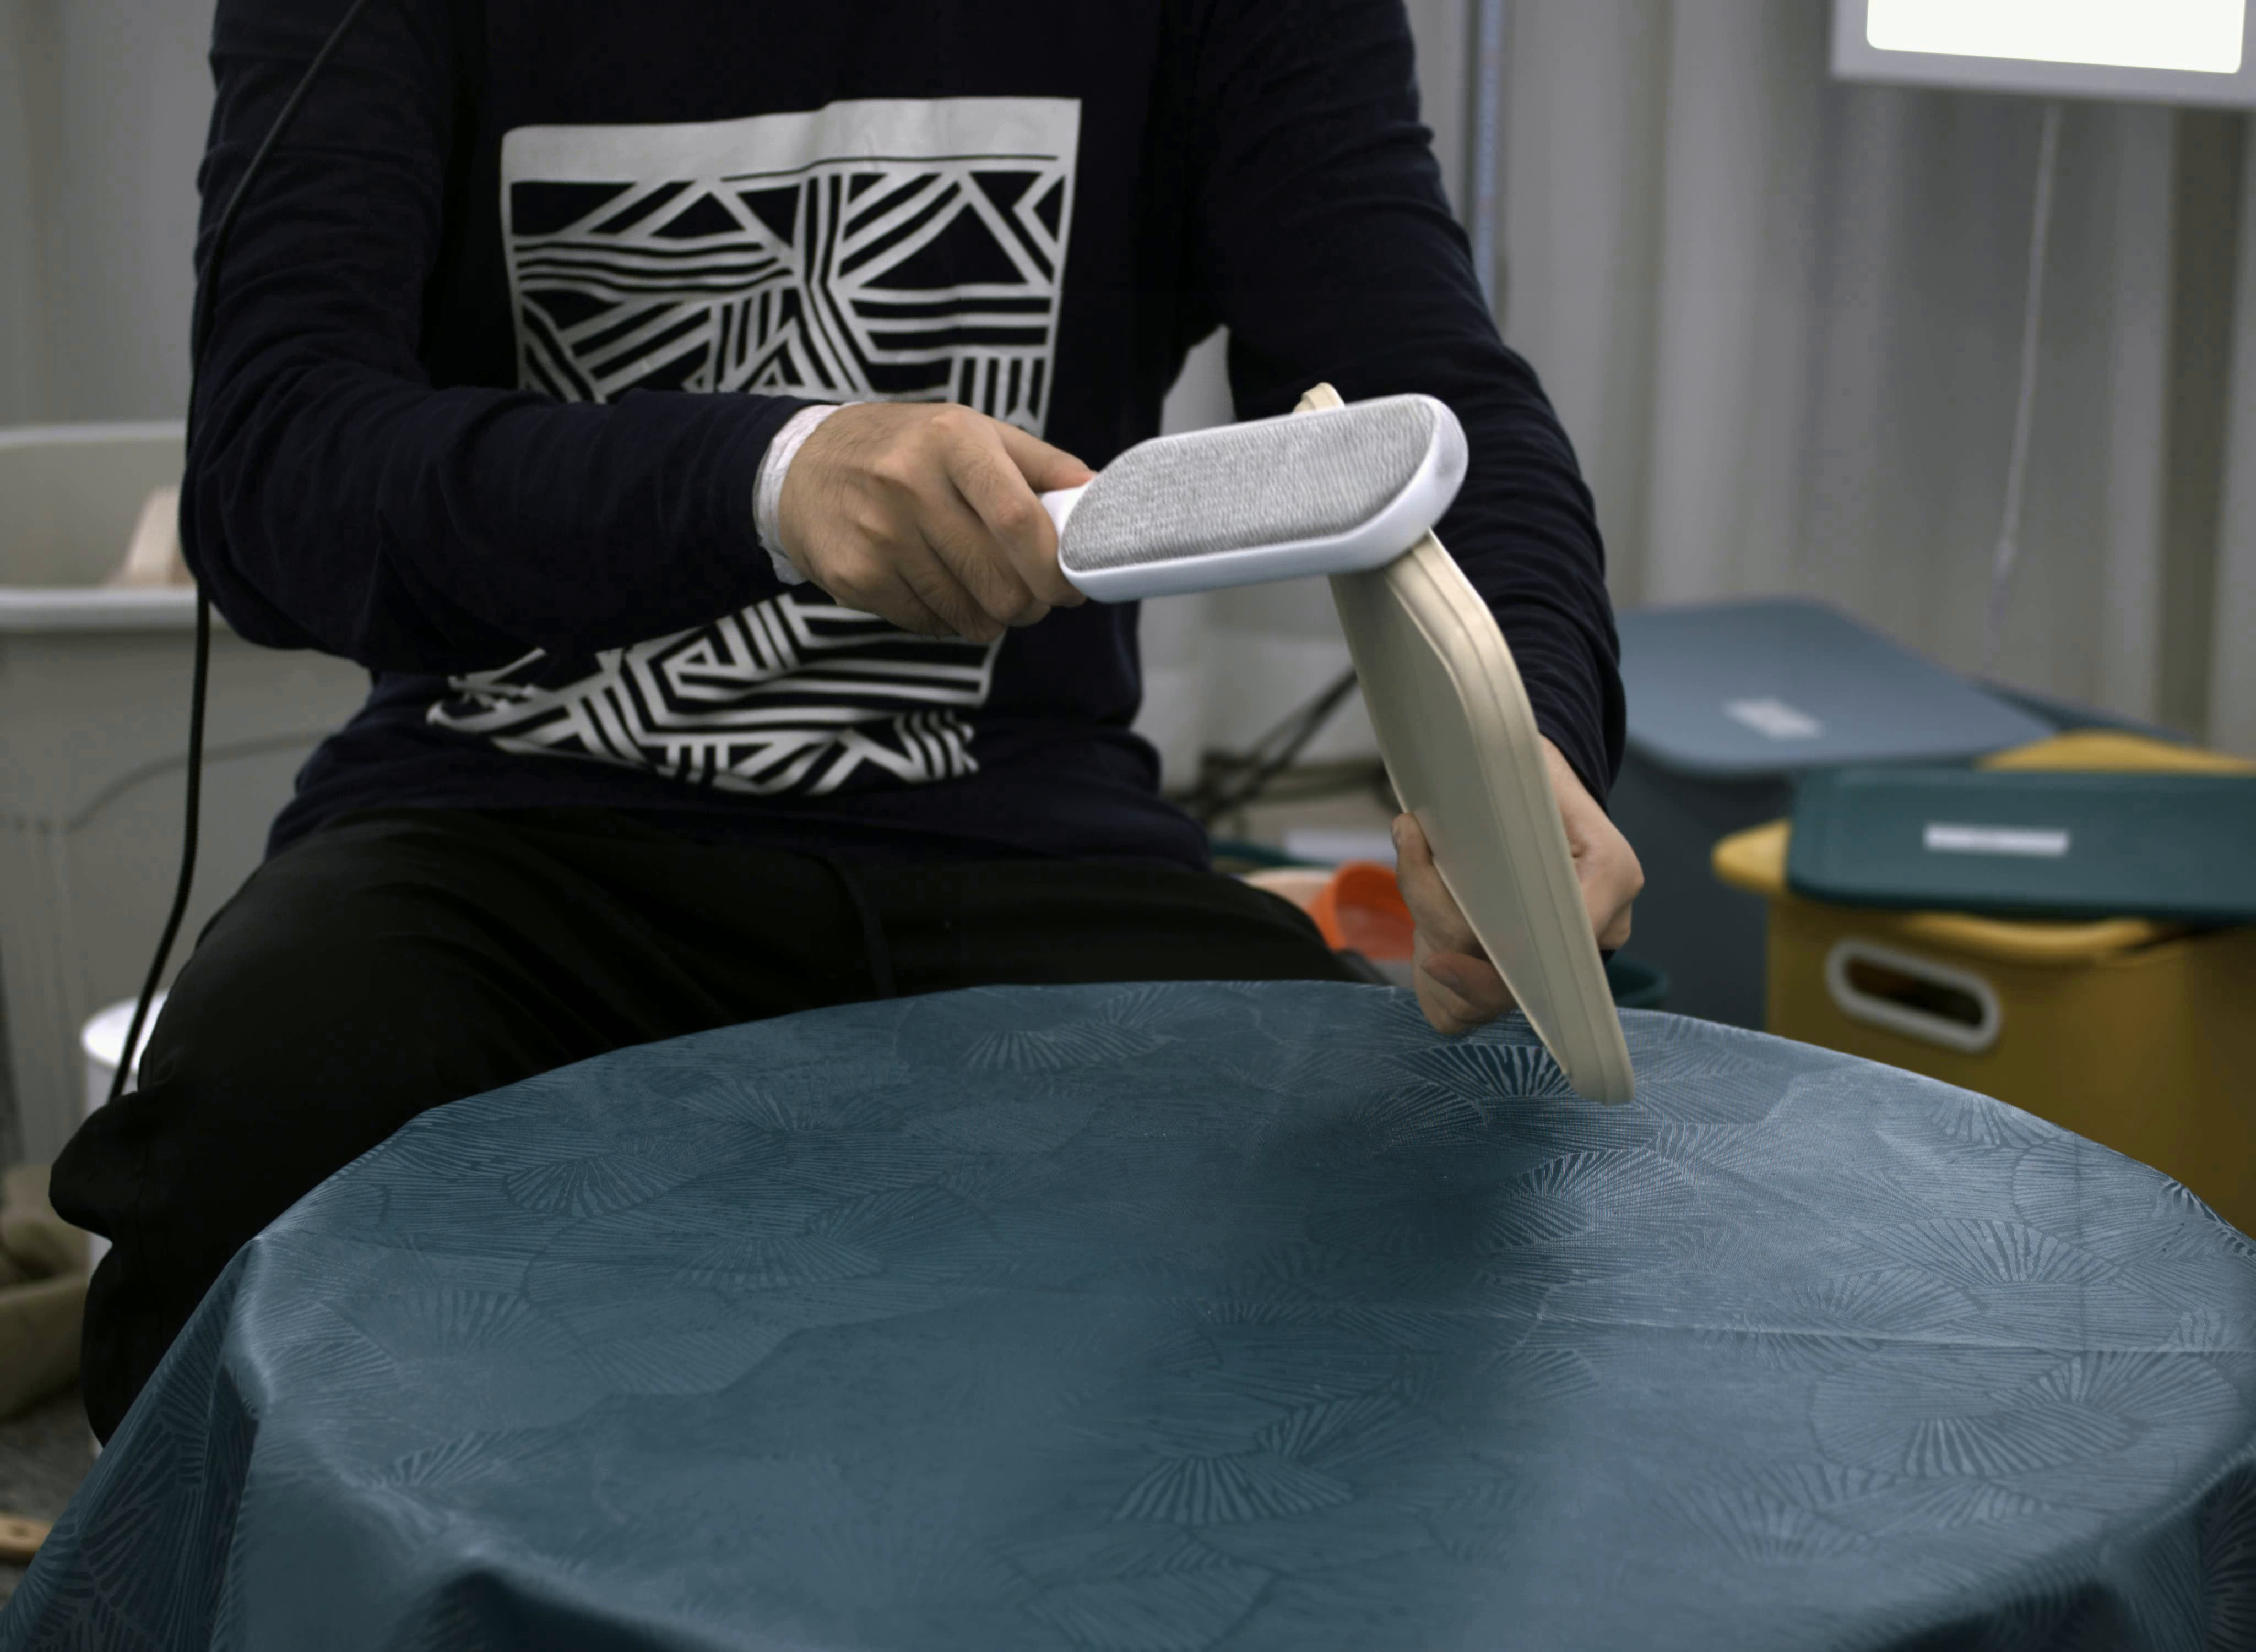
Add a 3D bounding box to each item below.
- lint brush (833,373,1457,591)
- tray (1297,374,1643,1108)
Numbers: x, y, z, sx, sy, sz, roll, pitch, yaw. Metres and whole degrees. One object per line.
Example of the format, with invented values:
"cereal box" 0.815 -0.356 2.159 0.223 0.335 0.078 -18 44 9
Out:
"lint brush" -0.001 -0.101 1.649 0.021 0.060 0.306 34 -23 -30
"tray" 0.099 -0.027 1.602 0.017 0.173 0.237 -20 29 -3
